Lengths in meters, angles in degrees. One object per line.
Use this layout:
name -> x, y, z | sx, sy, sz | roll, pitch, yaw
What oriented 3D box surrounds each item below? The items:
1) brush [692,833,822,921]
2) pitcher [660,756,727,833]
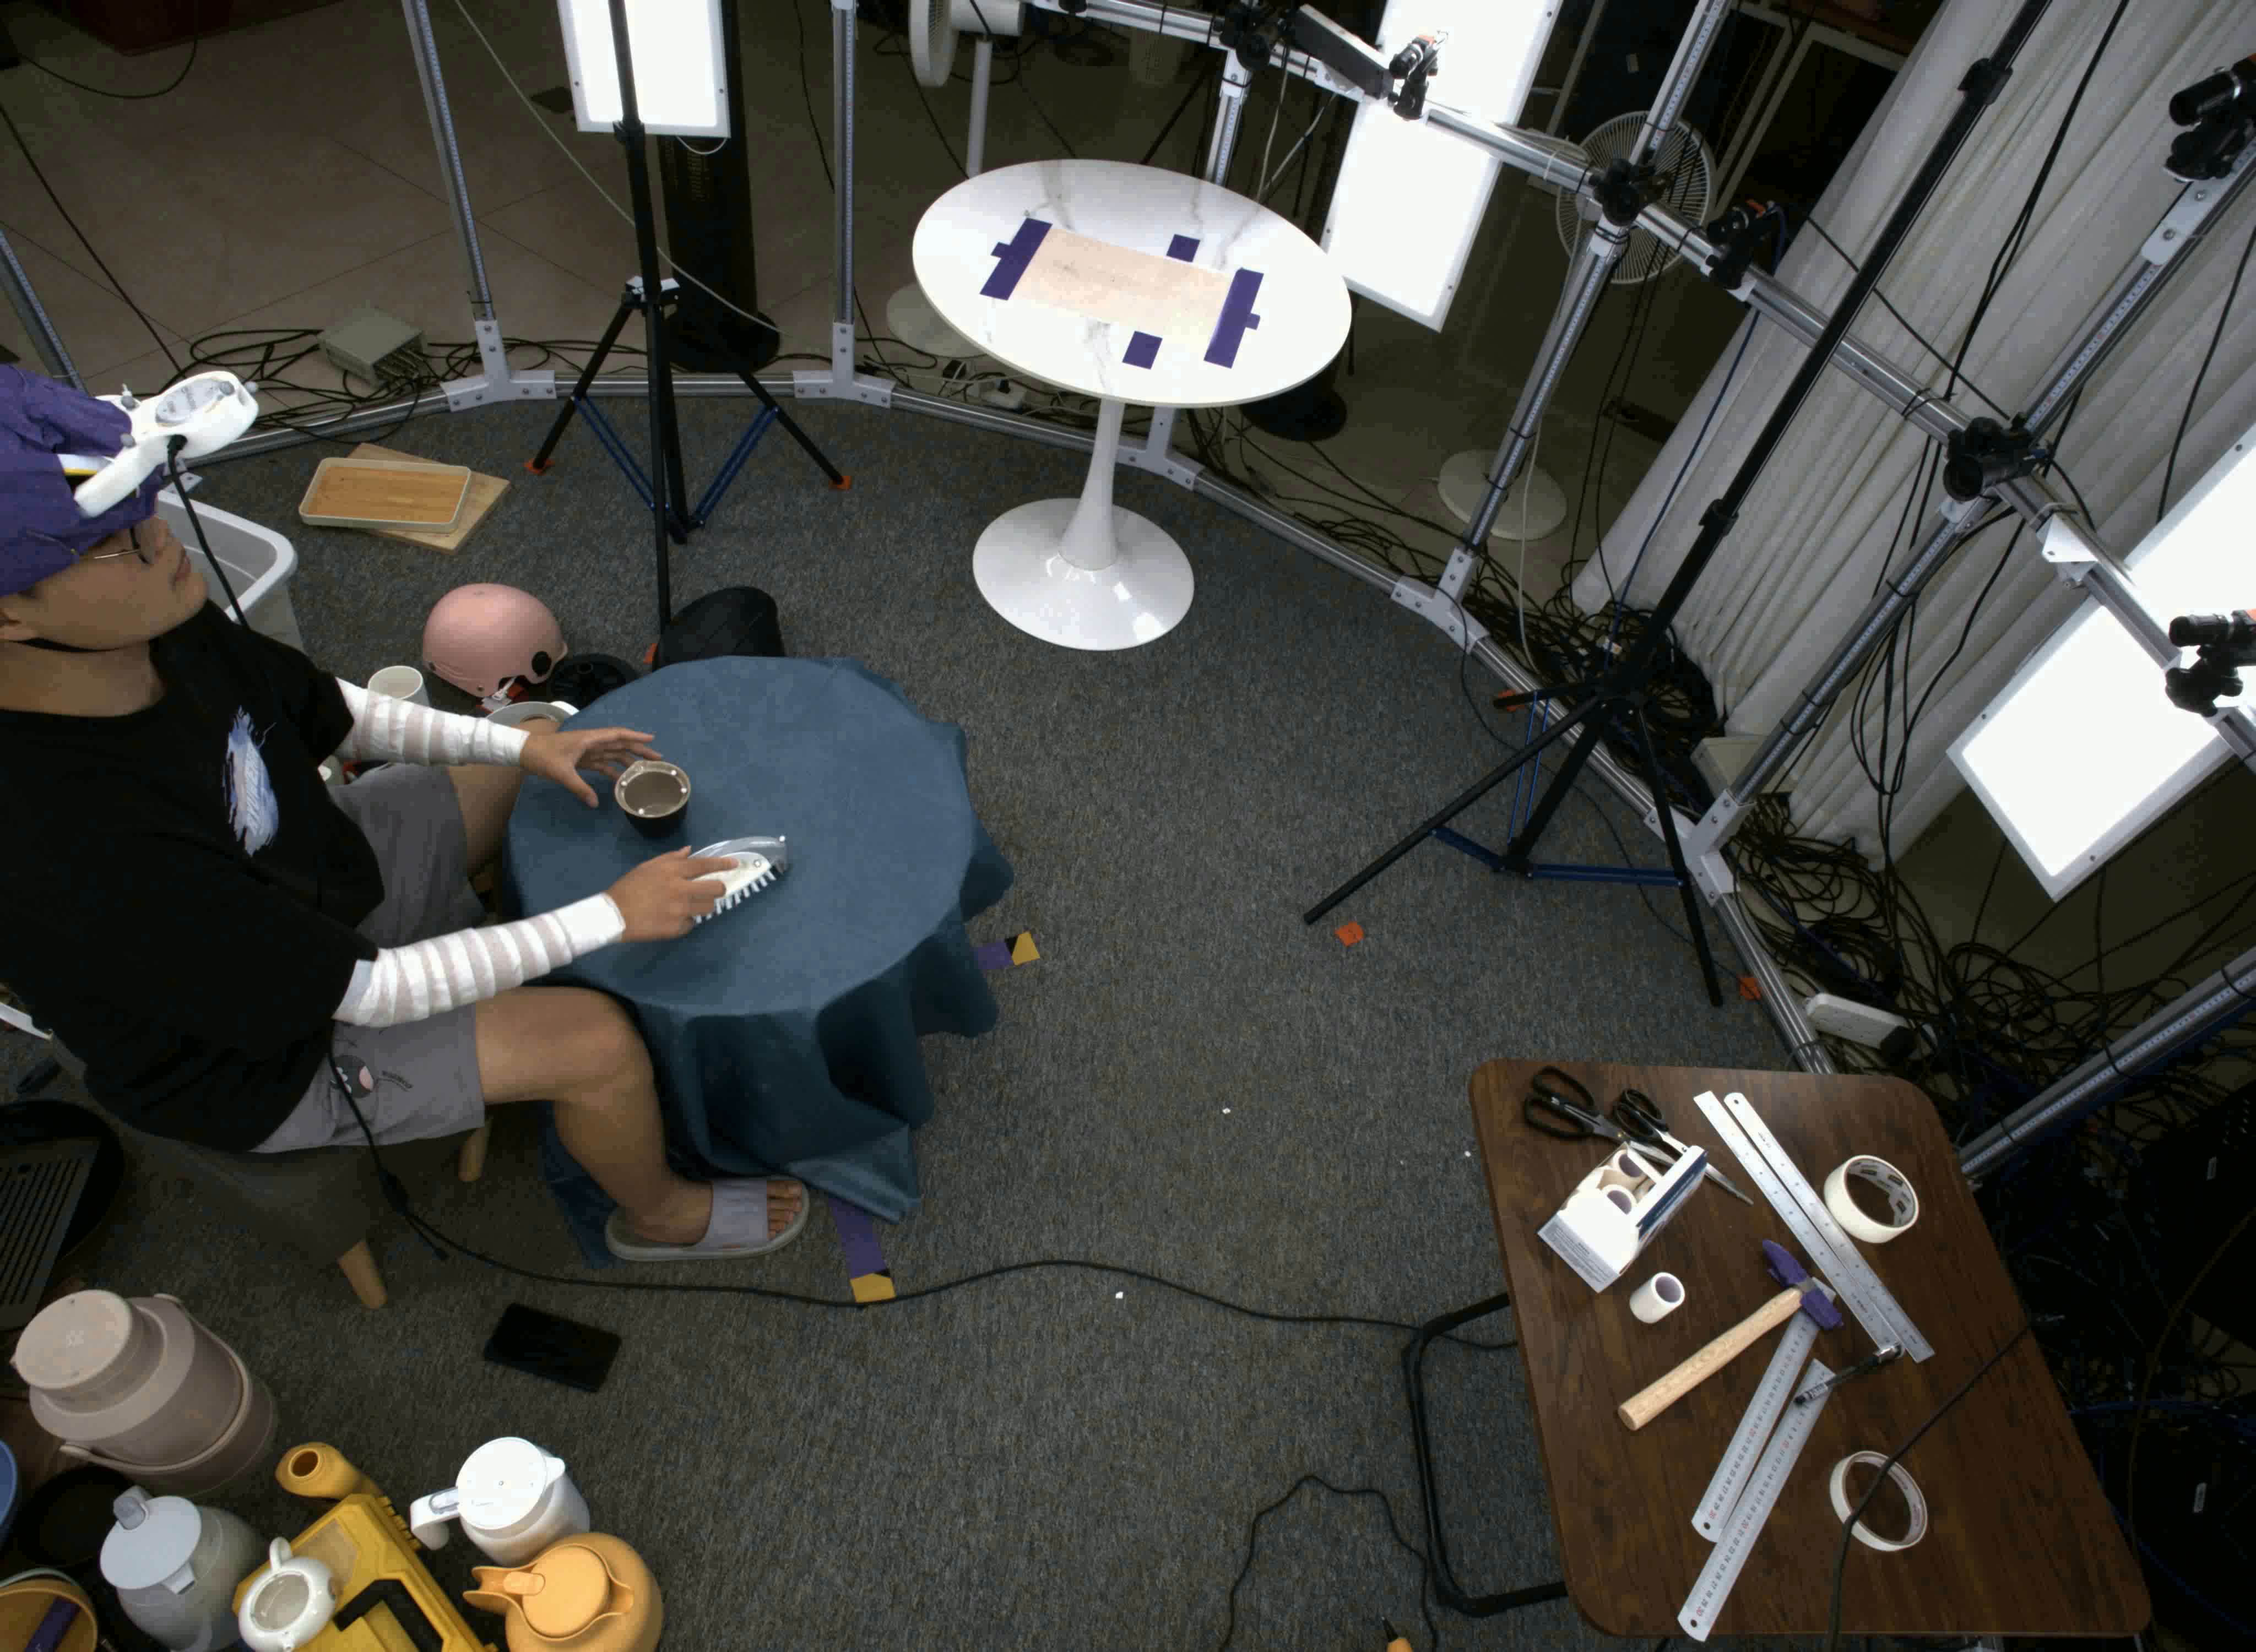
brush -> -0.463, 0.045, 1.632 | 0.176, 0.096, 0.060 | -24, 63, -31
pitcher -> -0.566, -0.038, 1.680 | 0.084, 0.073, 0.093 | -24, 59, -26
